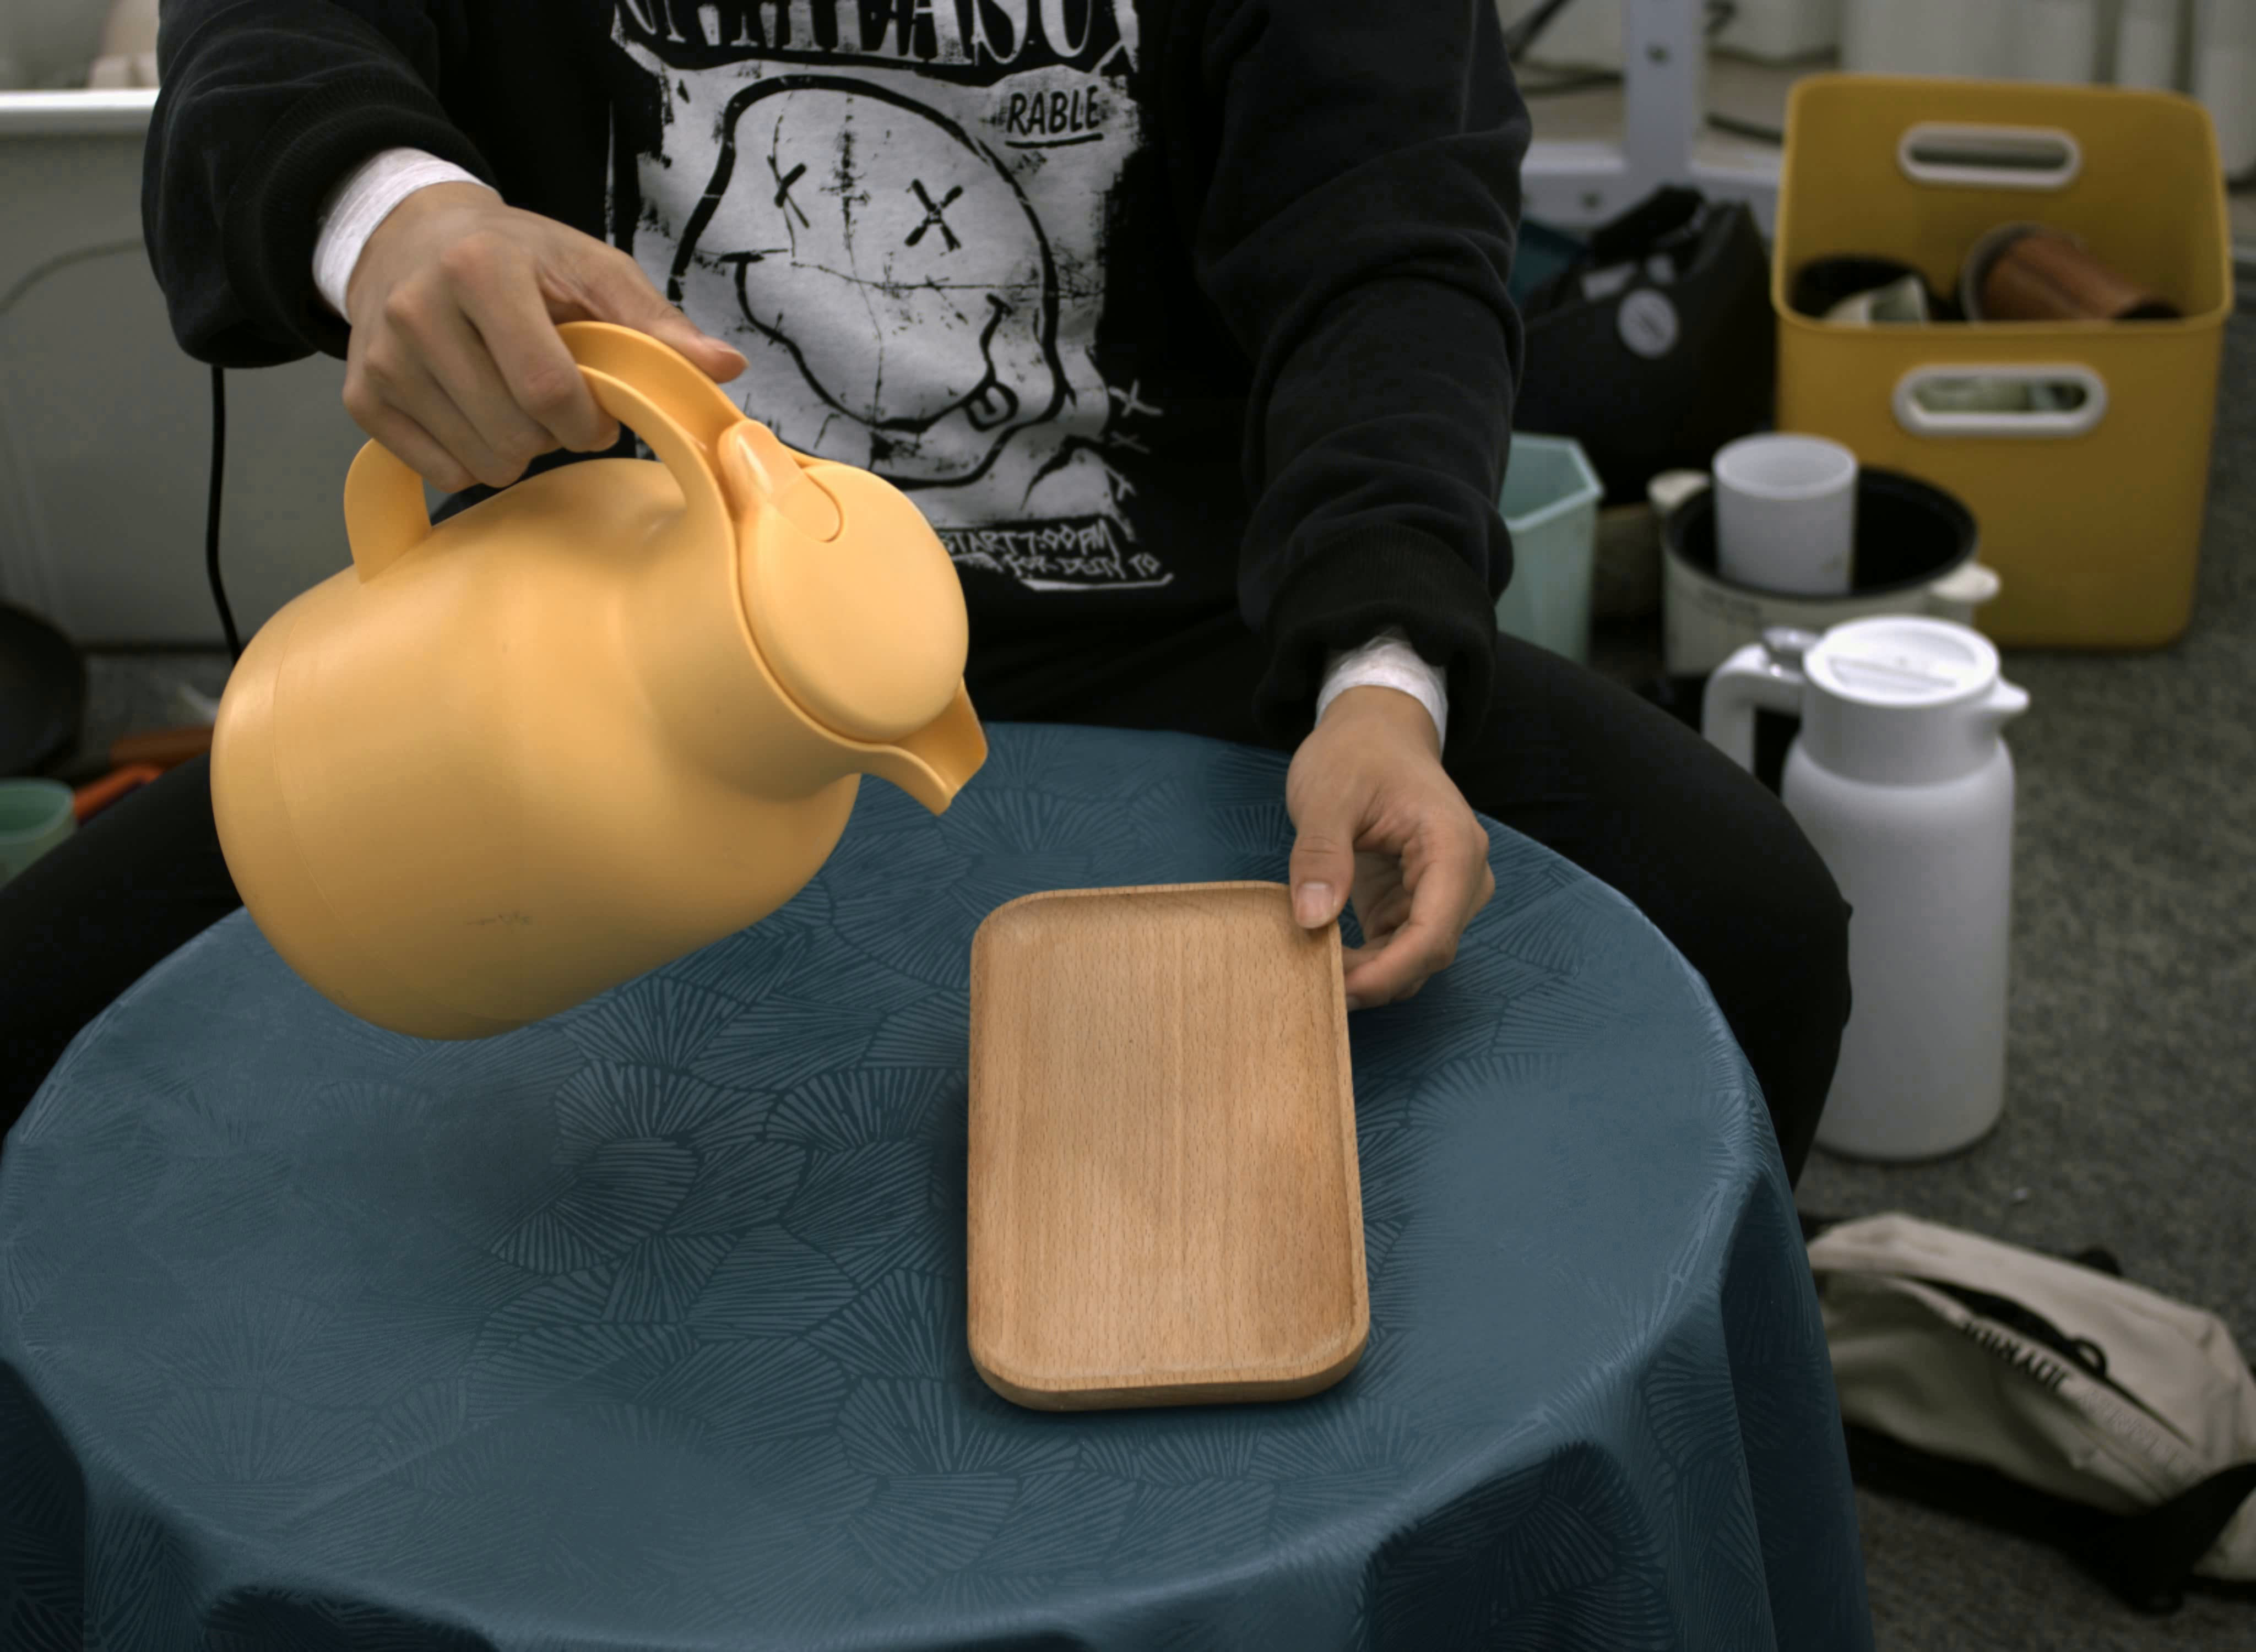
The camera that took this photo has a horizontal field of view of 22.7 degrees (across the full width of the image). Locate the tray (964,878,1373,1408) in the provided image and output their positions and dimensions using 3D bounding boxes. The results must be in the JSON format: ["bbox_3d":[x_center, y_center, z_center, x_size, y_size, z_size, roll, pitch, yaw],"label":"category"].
[{"bbox_3d":[0.012,0.101,1.837,0.130,0.022,0.255,0,36,0],"label":"tray"}]

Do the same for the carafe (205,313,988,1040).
[{"bbox_3d":[-0.176,-0.053,1.803,0.256,0.202,0.166,-23,17,37],"label":"carafe"}]
